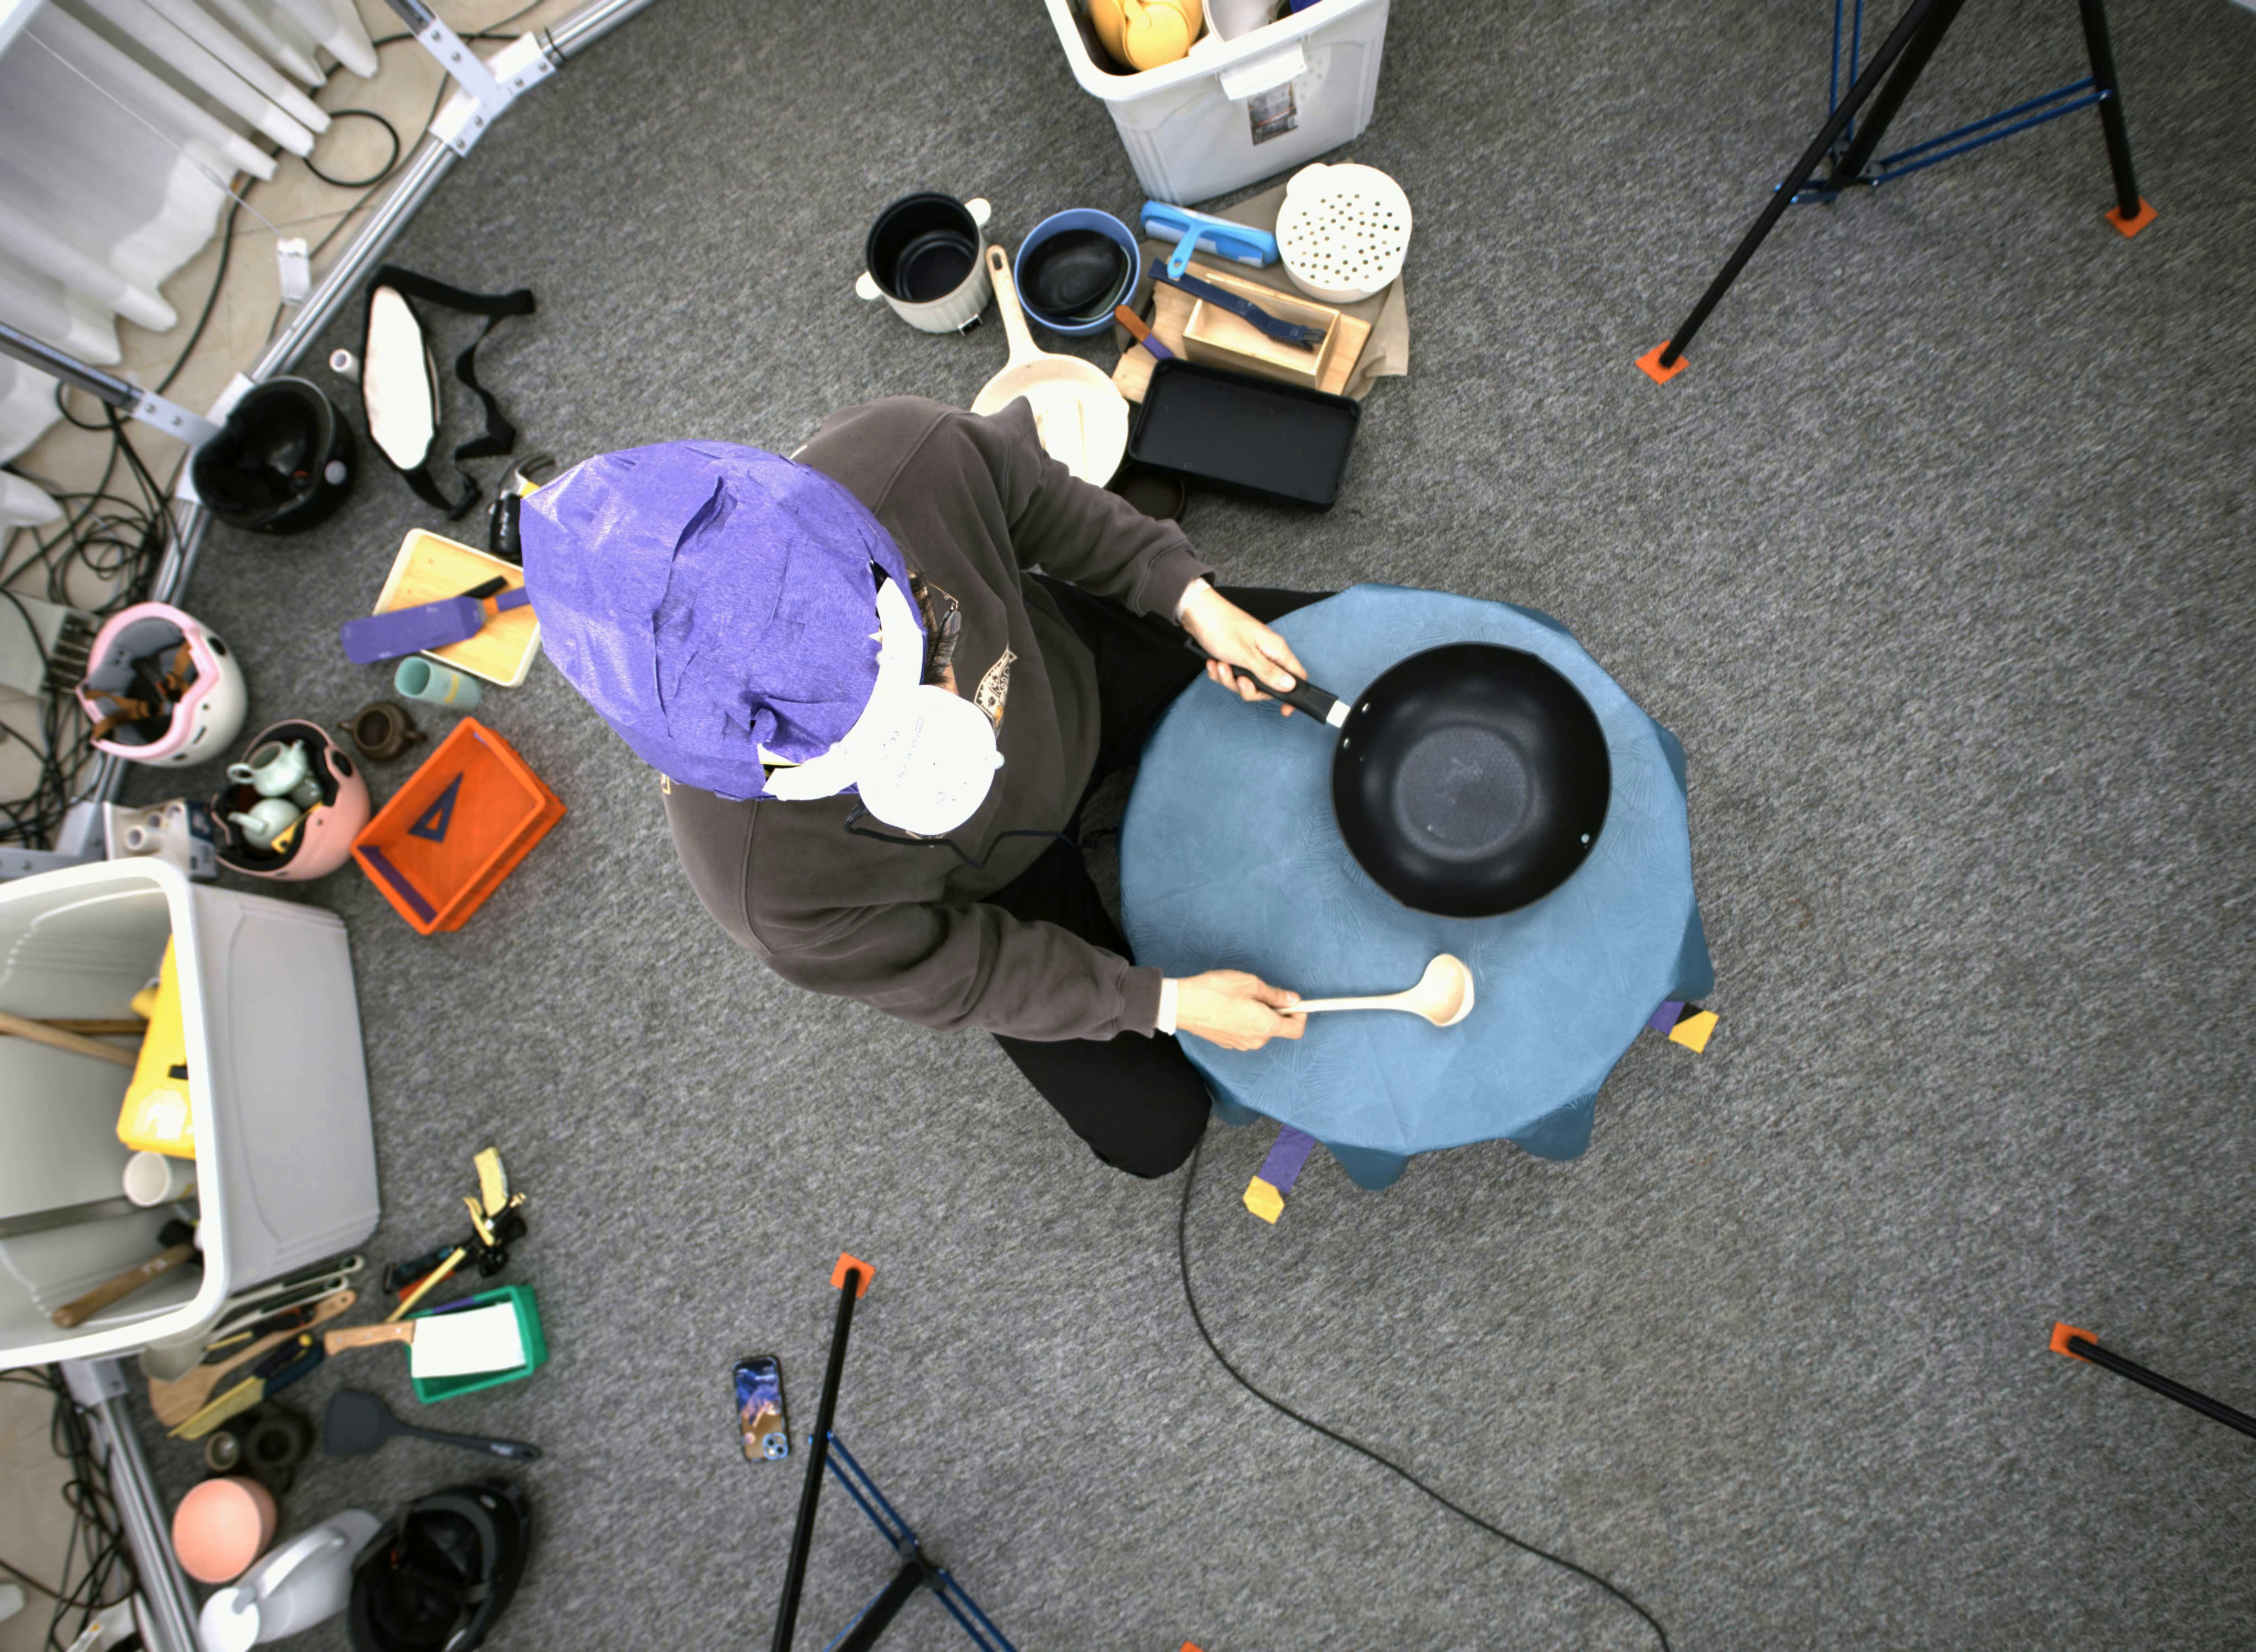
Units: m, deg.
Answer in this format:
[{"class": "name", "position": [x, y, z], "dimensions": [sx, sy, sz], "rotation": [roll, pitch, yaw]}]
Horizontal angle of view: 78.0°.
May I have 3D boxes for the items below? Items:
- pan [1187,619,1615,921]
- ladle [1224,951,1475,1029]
[{"class": "pan", "position": [0.267, -0.087, 1.420], "dimensions": [0.462, 0.087, 0.288], "rotation": [28, 92, 10]}, {"class": "ladle", "position": [0.225, 0.174, 1.410], "dimensions": [0.255, 0.074, 0.071], "rotation": [-7, 69, 1]}]
